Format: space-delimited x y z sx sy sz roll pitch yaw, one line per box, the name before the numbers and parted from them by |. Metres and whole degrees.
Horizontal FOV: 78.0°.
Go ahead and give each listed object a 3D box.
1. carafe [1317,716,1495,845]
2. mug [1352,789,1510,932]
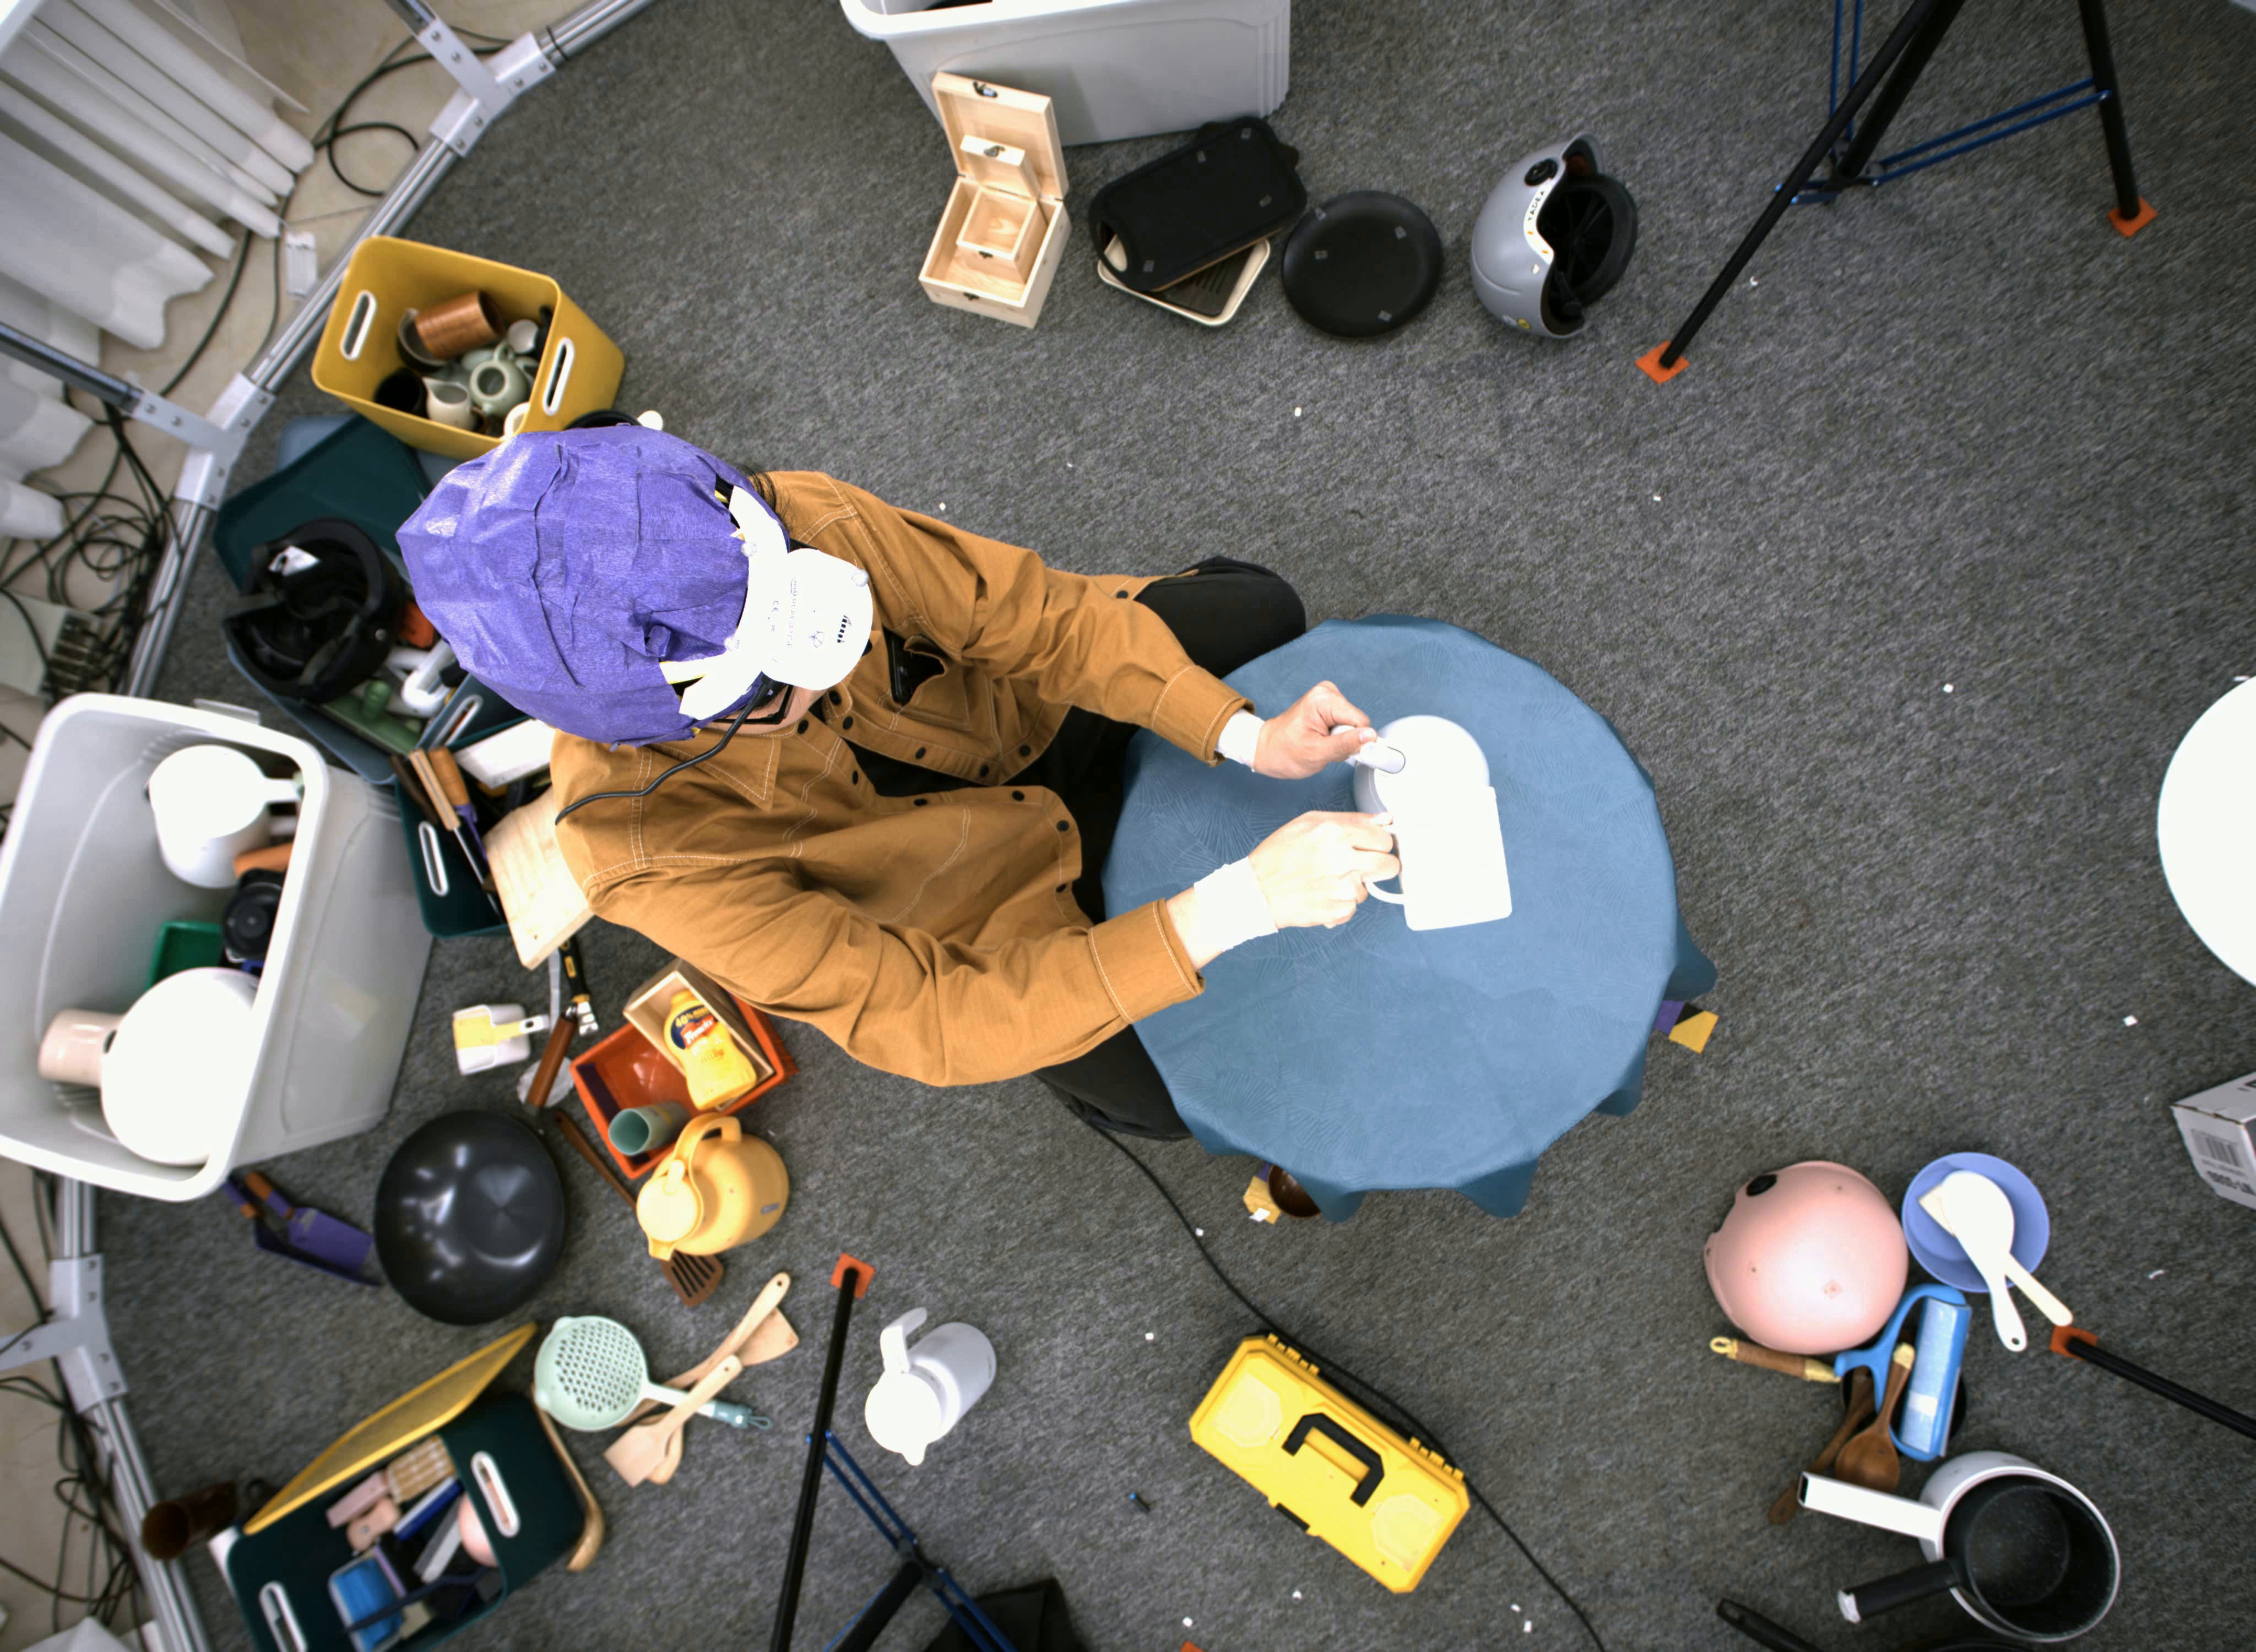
carafe | 0.260 -0.050 1.306 0.167 0.247 0.133 25 95 10
mug | 0.238 0.029 1.089 0.118 0.085 0.101 -9 88 -8
